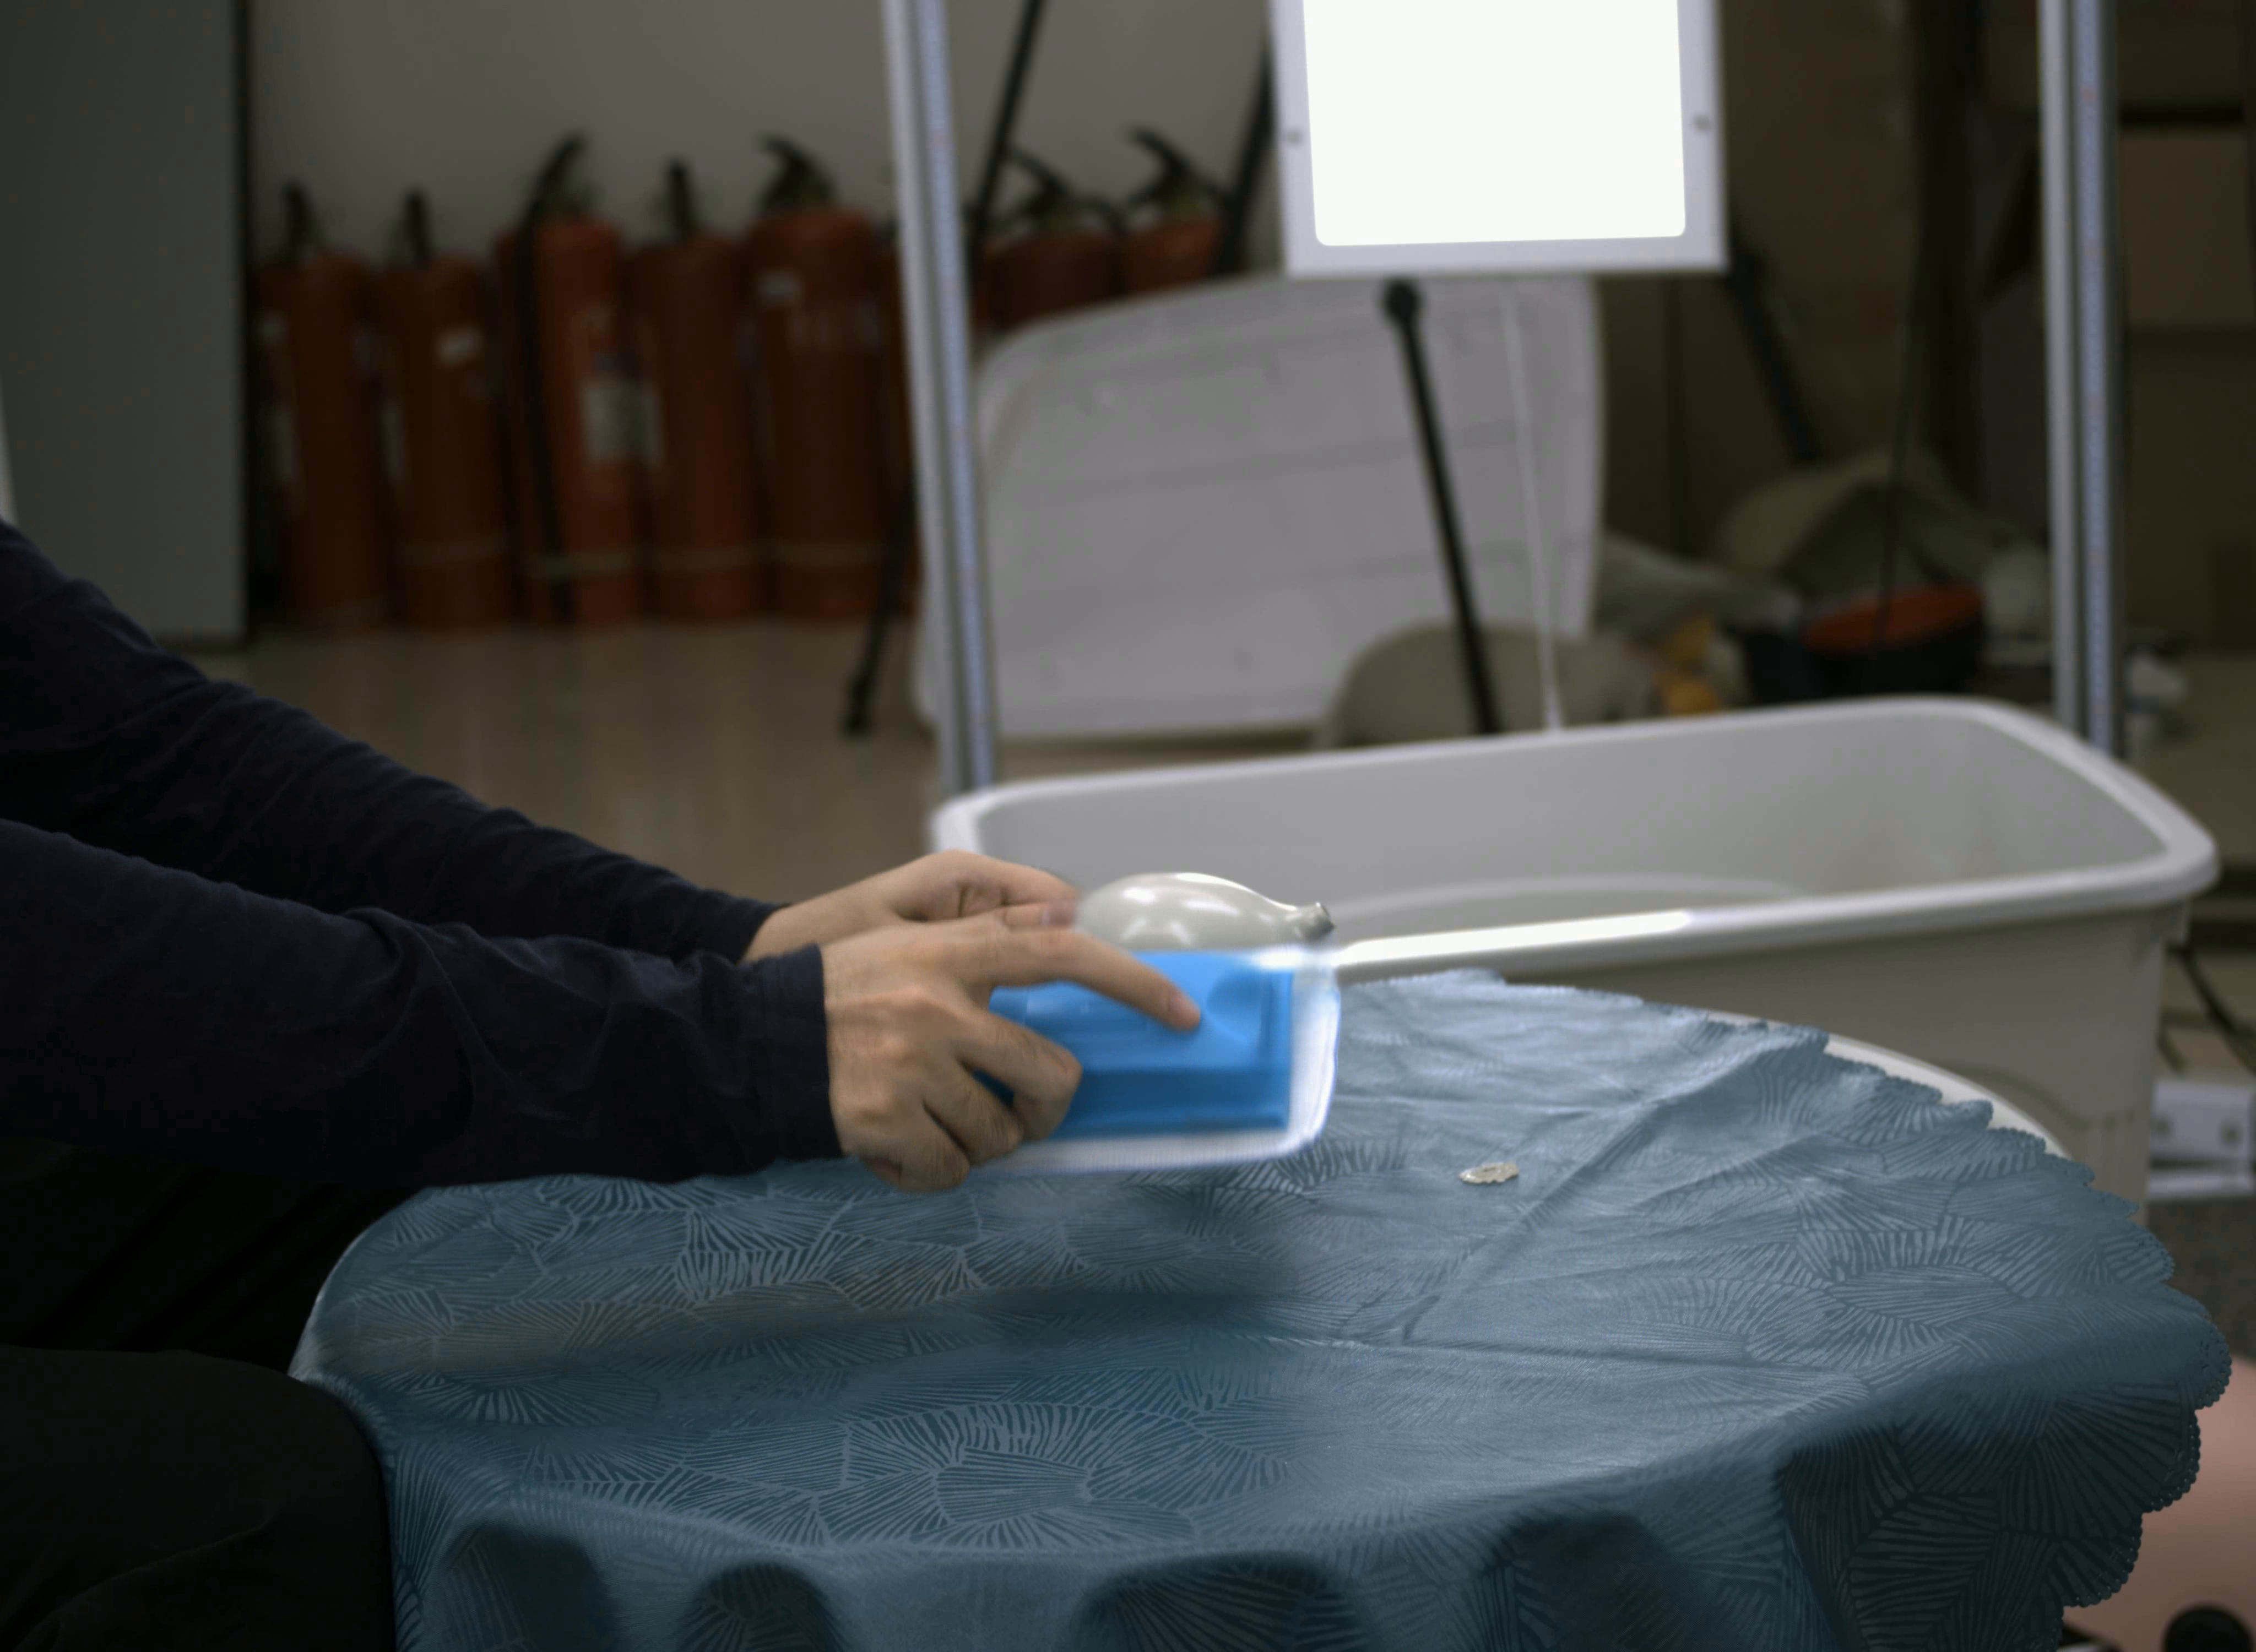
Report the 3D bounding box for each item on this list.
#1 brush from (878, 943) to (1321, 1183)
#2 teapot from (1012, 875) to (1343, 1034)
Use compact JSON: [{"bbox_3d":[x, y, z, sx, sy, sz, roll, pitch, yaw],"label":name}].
[{"bbox_3d":[-0.012,0.072,1.784,0.145,0.055,0.083,0,56,17],"label":"brush"},{"bbox_3d":[0.013,0.055,1.921,0.130,0.059,0.090,1,-22,29],"label":"teapot"}]
